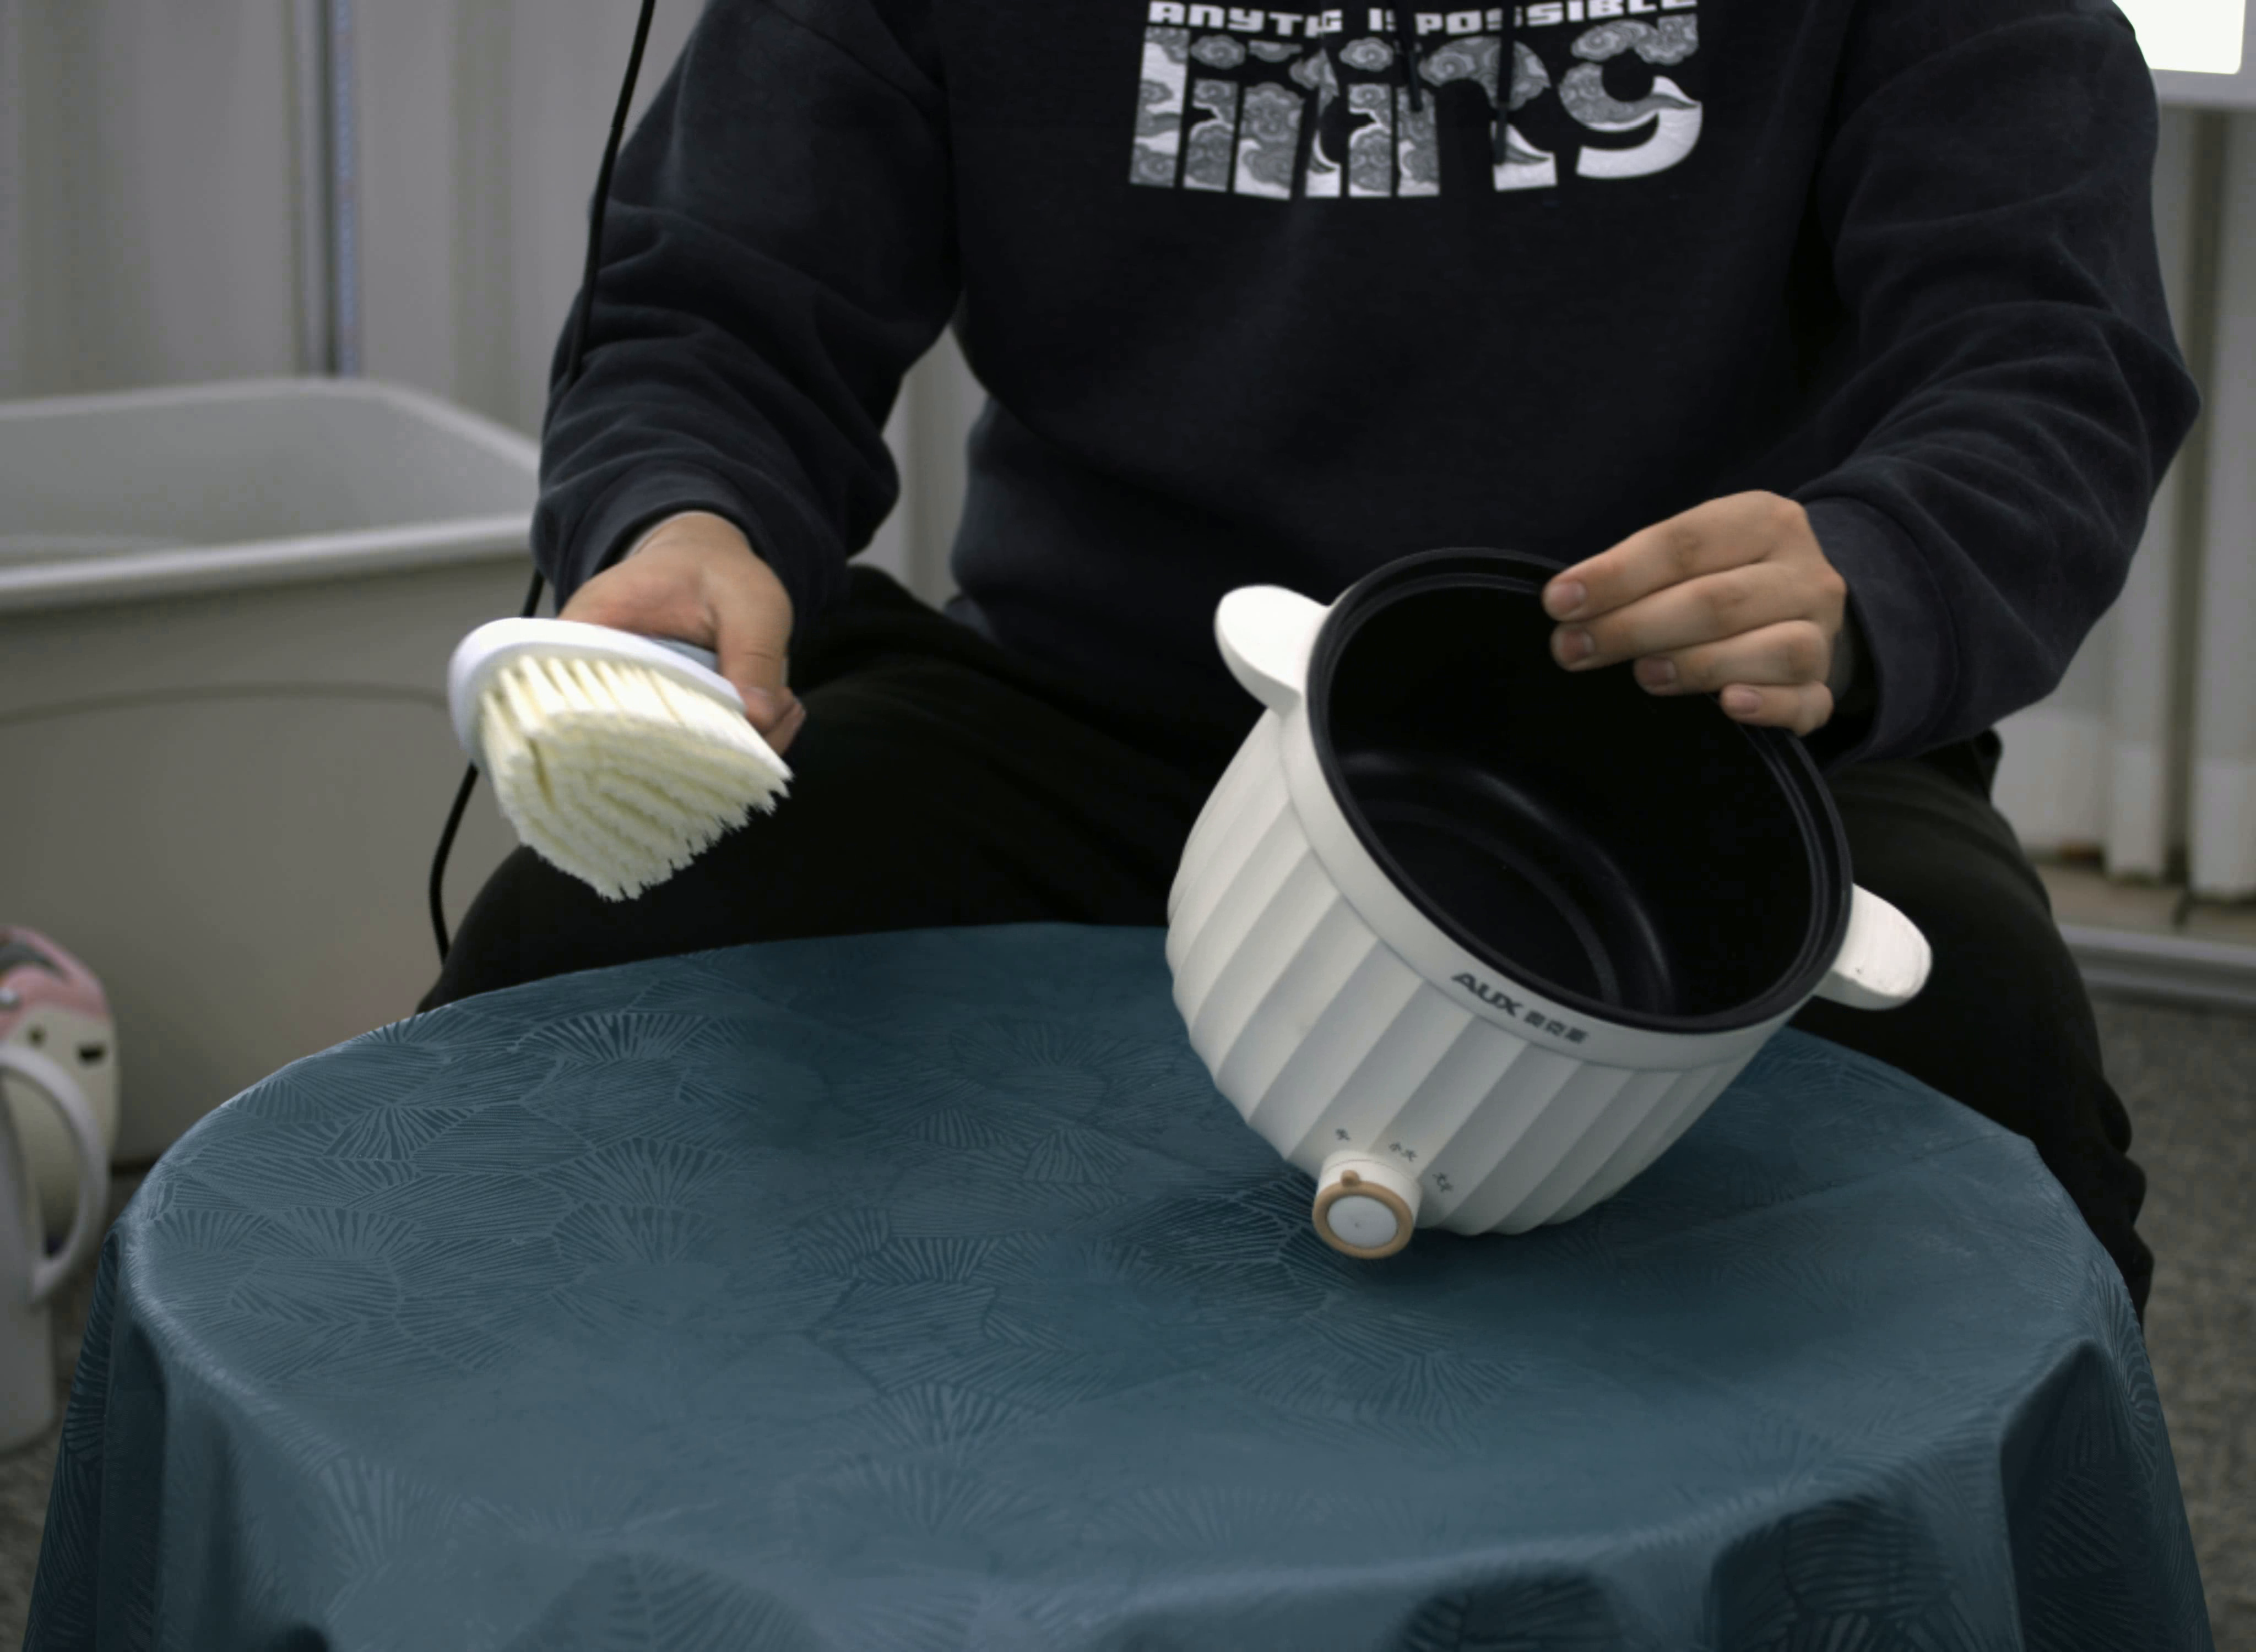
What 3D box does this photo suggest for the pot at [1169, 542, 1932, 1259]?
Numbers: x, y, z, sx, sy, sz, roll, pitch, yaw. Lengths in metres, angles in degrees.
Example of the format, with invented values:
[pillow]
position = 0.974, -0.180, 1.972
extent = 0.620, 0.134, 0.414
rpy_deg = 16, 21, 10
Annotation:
[pot]
position = 0.107, 0.031, 1.585
extent = 0.241, 0.143, 0.189
rpy_deg = 27, 40, -9

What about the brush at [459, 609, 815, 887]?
[brush]
position = -0.128, -0.021, 1.651
extent = 0.082, 0.085, 0.327
rpy_deg = 3, -2, 12
